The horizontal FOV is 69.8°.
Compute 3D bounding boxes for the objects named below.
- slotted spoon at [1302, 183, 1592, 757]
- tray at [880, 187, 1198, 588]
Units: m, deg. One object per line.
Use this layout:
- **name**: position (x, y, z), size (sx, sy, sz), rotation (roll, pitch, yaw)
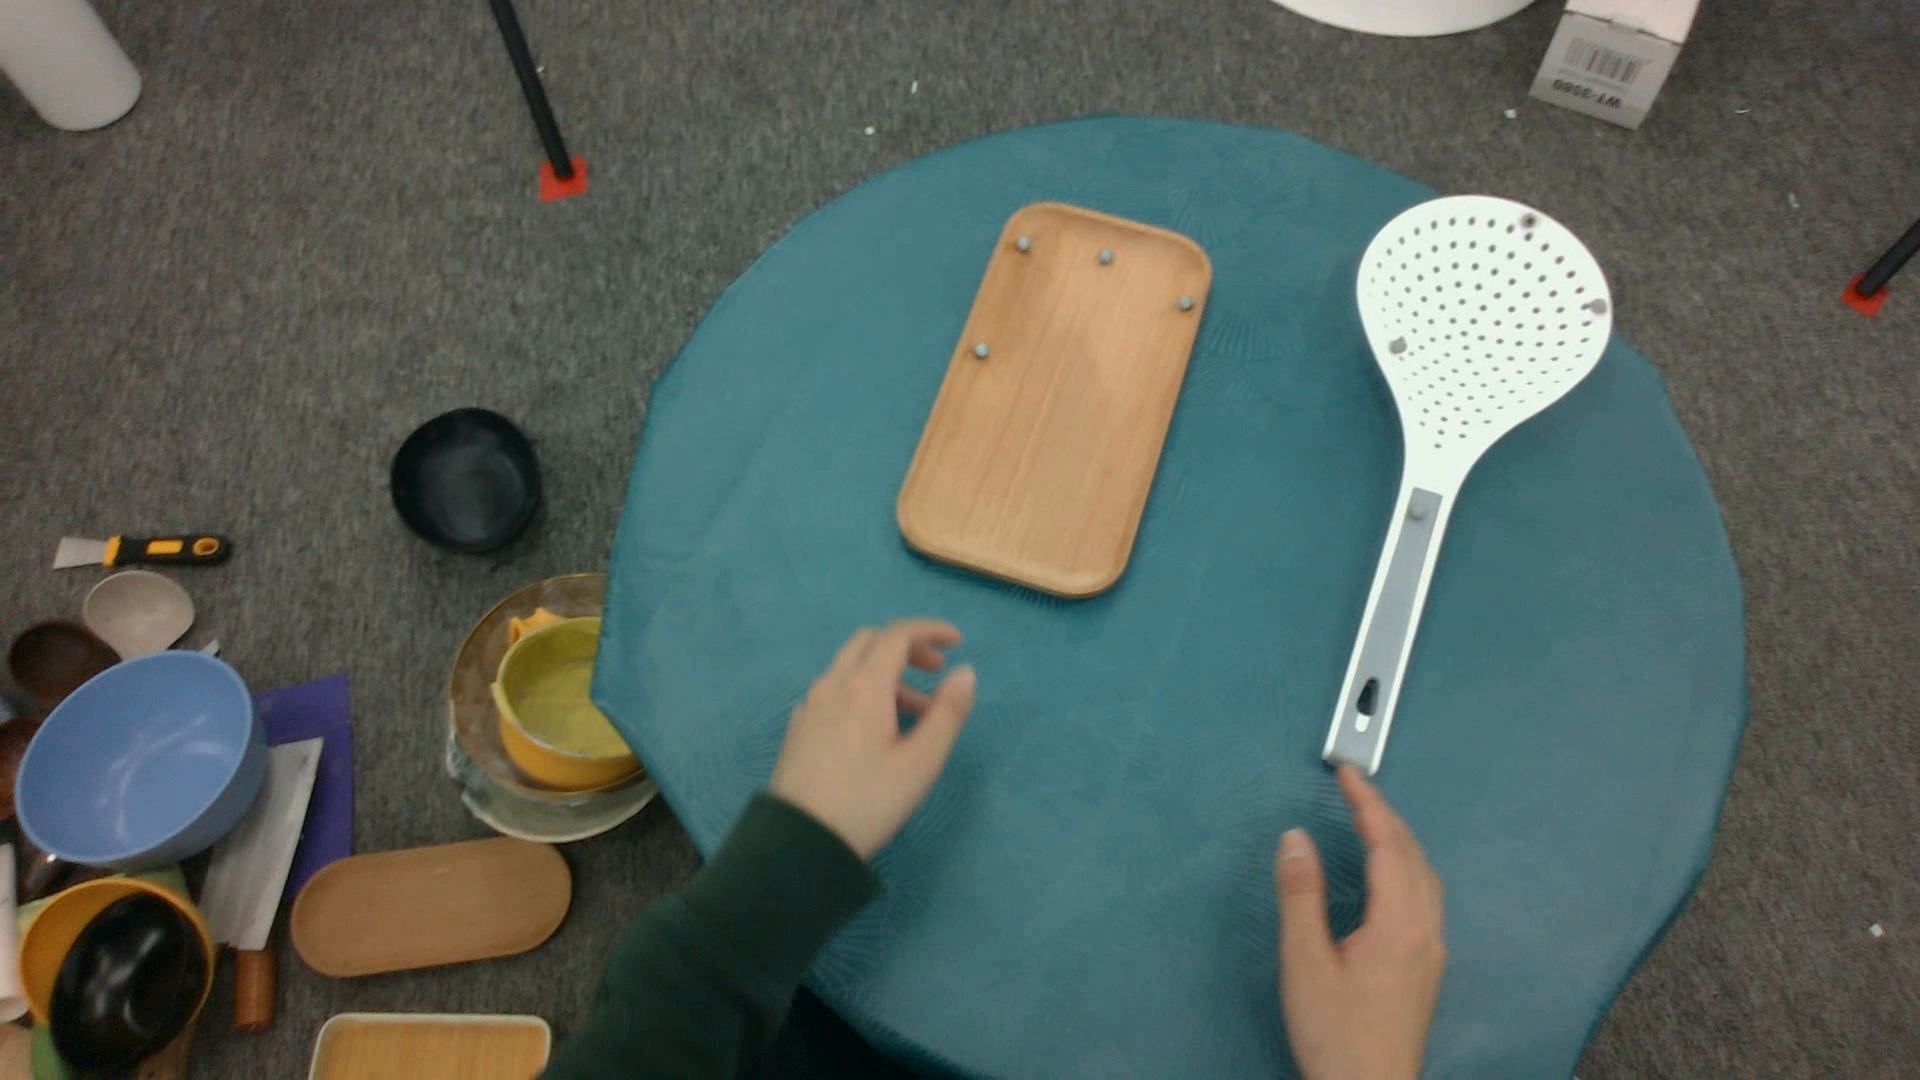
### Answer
- **slotted spoon**: position (0.245, -0.047, 0.740), size (0.136, 0.045, 0.351), rotation (19, 65, 11)
- **tray**: position (0.049, -0.092, 0.774), size (0.130, 0.023, 0.251), rotation (16, 65, 9)
